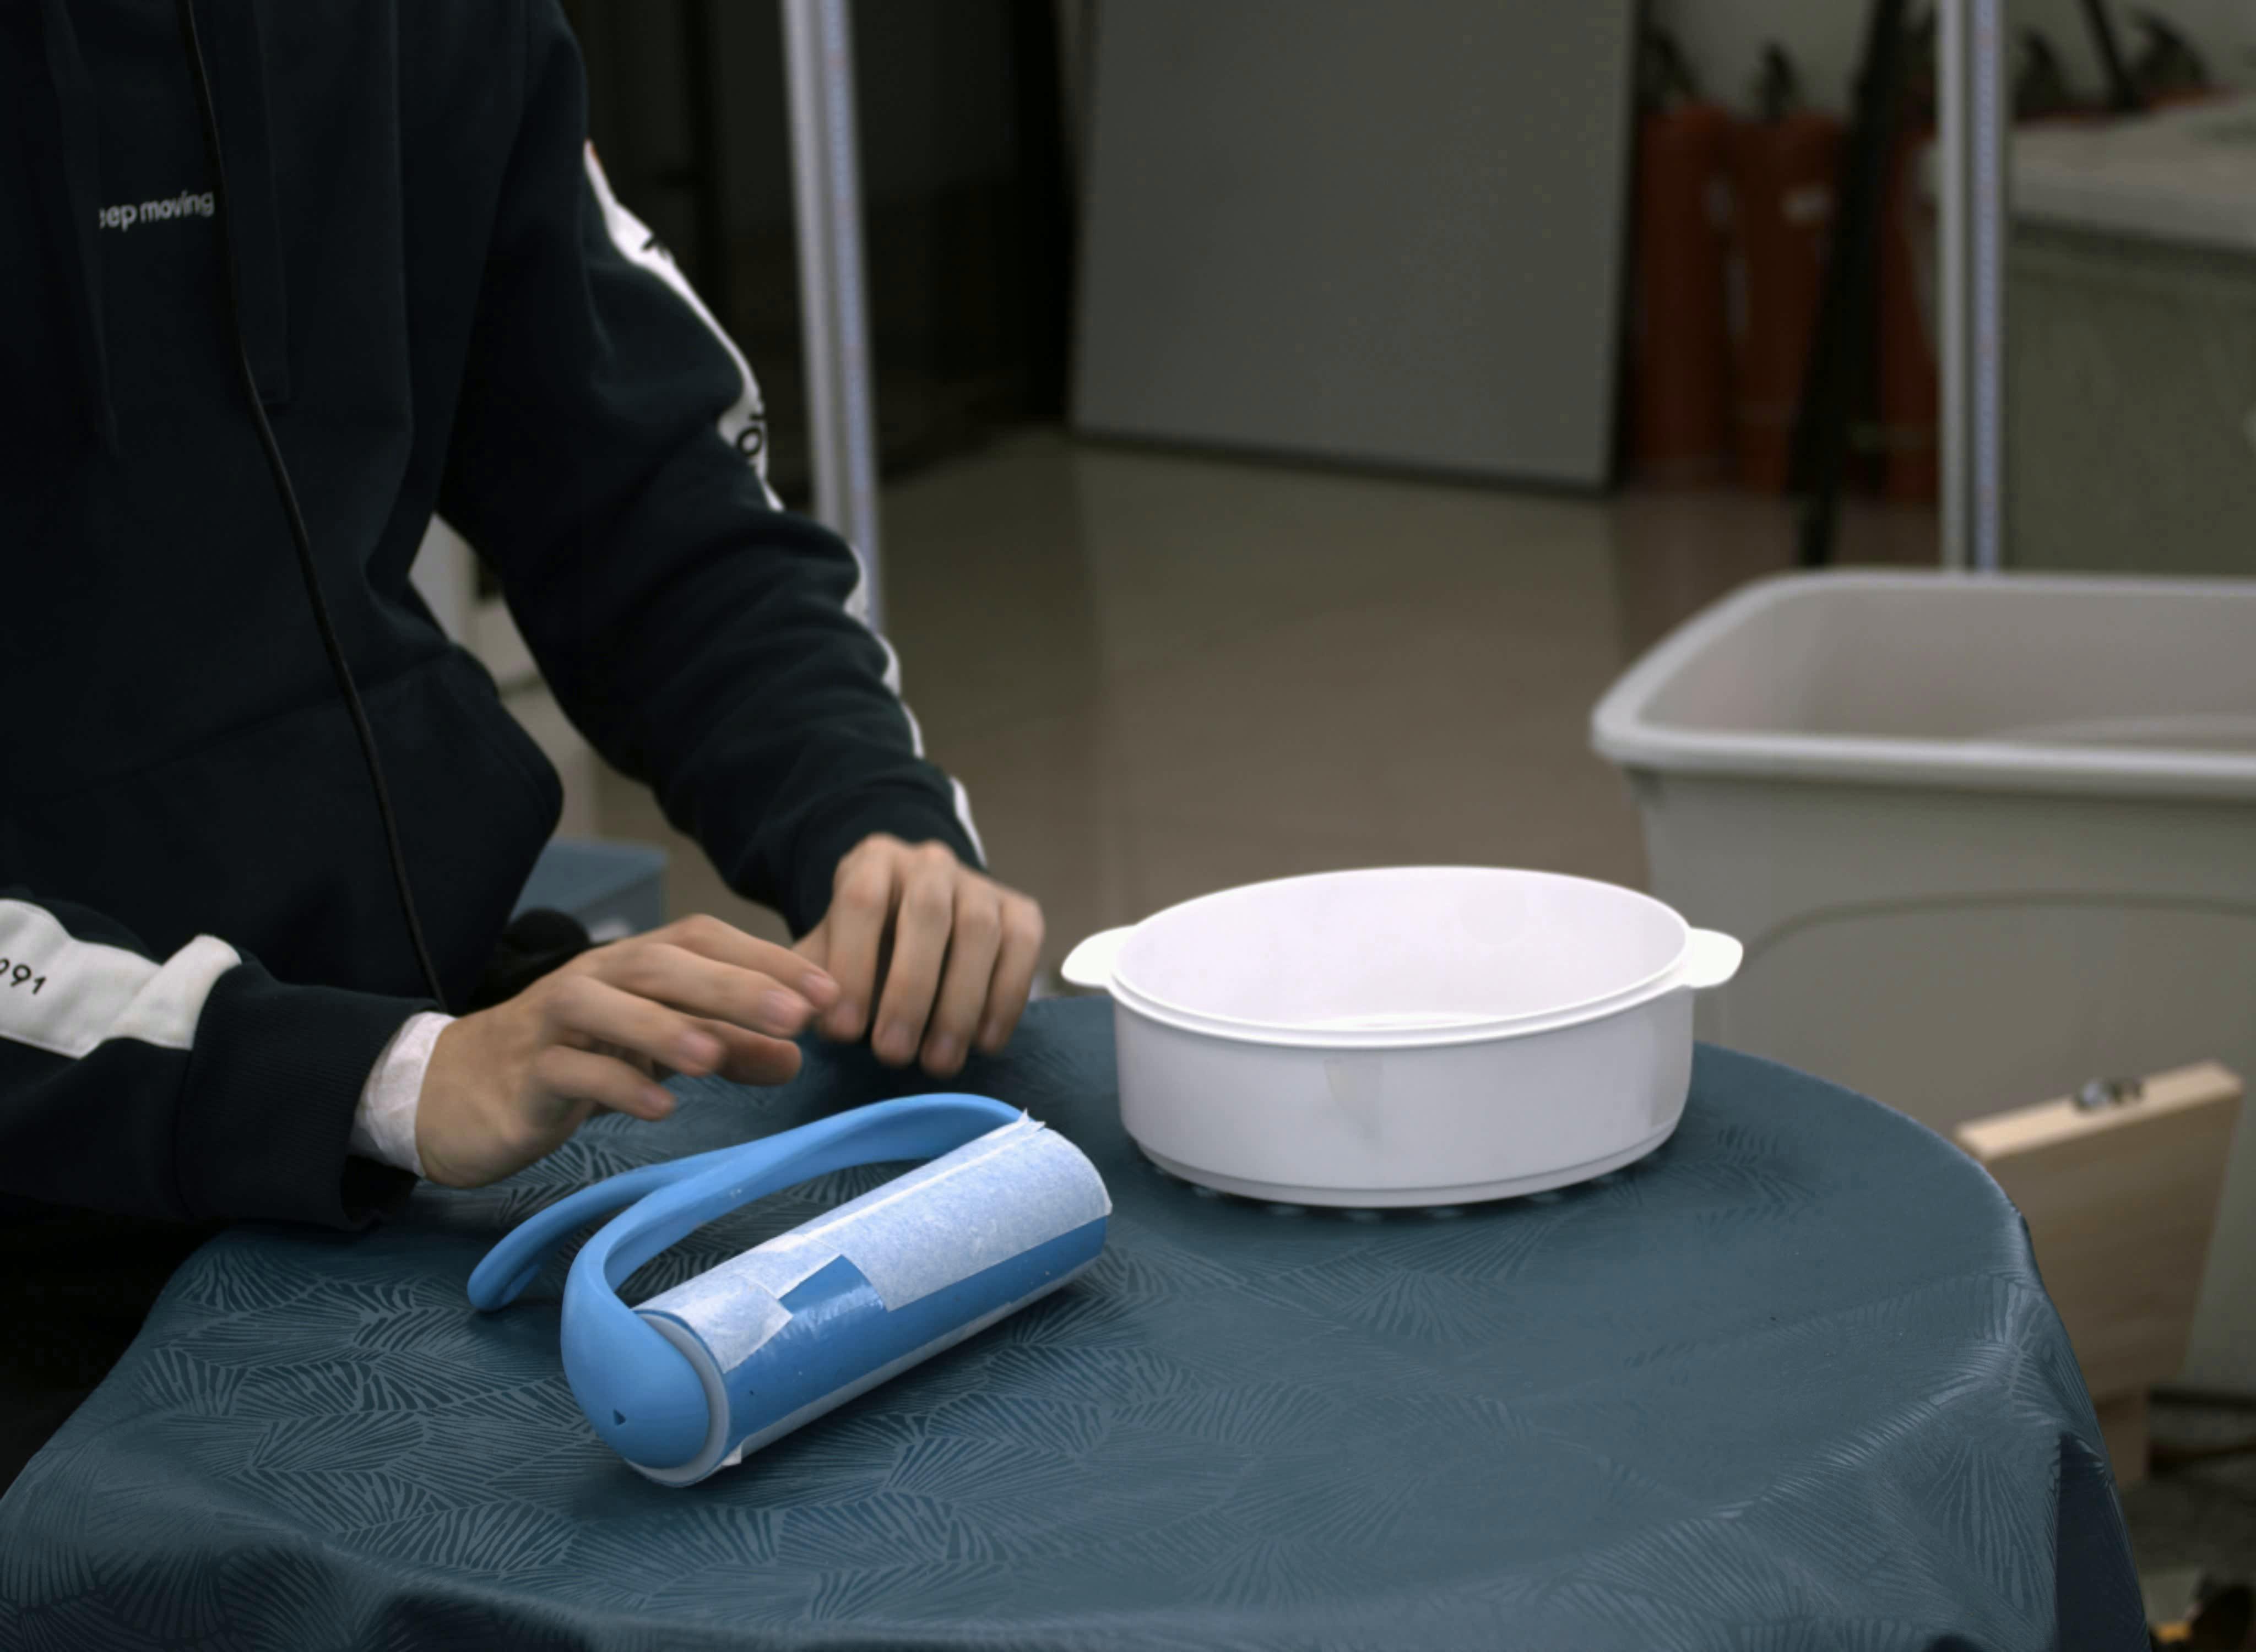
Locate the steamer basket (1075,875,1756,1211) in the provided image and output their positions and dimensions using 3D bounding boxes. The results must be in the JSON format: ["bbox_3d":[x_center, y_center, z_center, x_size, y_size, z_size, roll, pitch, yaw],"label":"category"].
[{"bbox_3d":[0.097,0.072,1.800,0.229,0.070,0.200,-2,13,15],"label":"steamer basket"}]

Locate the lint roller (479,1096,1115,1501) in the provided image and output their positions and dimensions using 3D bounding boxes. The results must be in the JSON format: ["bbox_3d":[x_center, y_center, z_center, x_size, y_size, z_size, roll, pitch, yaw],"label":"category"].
[{"bbox_3d":[-0.126,0.136,1.636,0.181,0.068,0.225,5,19,30],"label":"lint roller"}]
